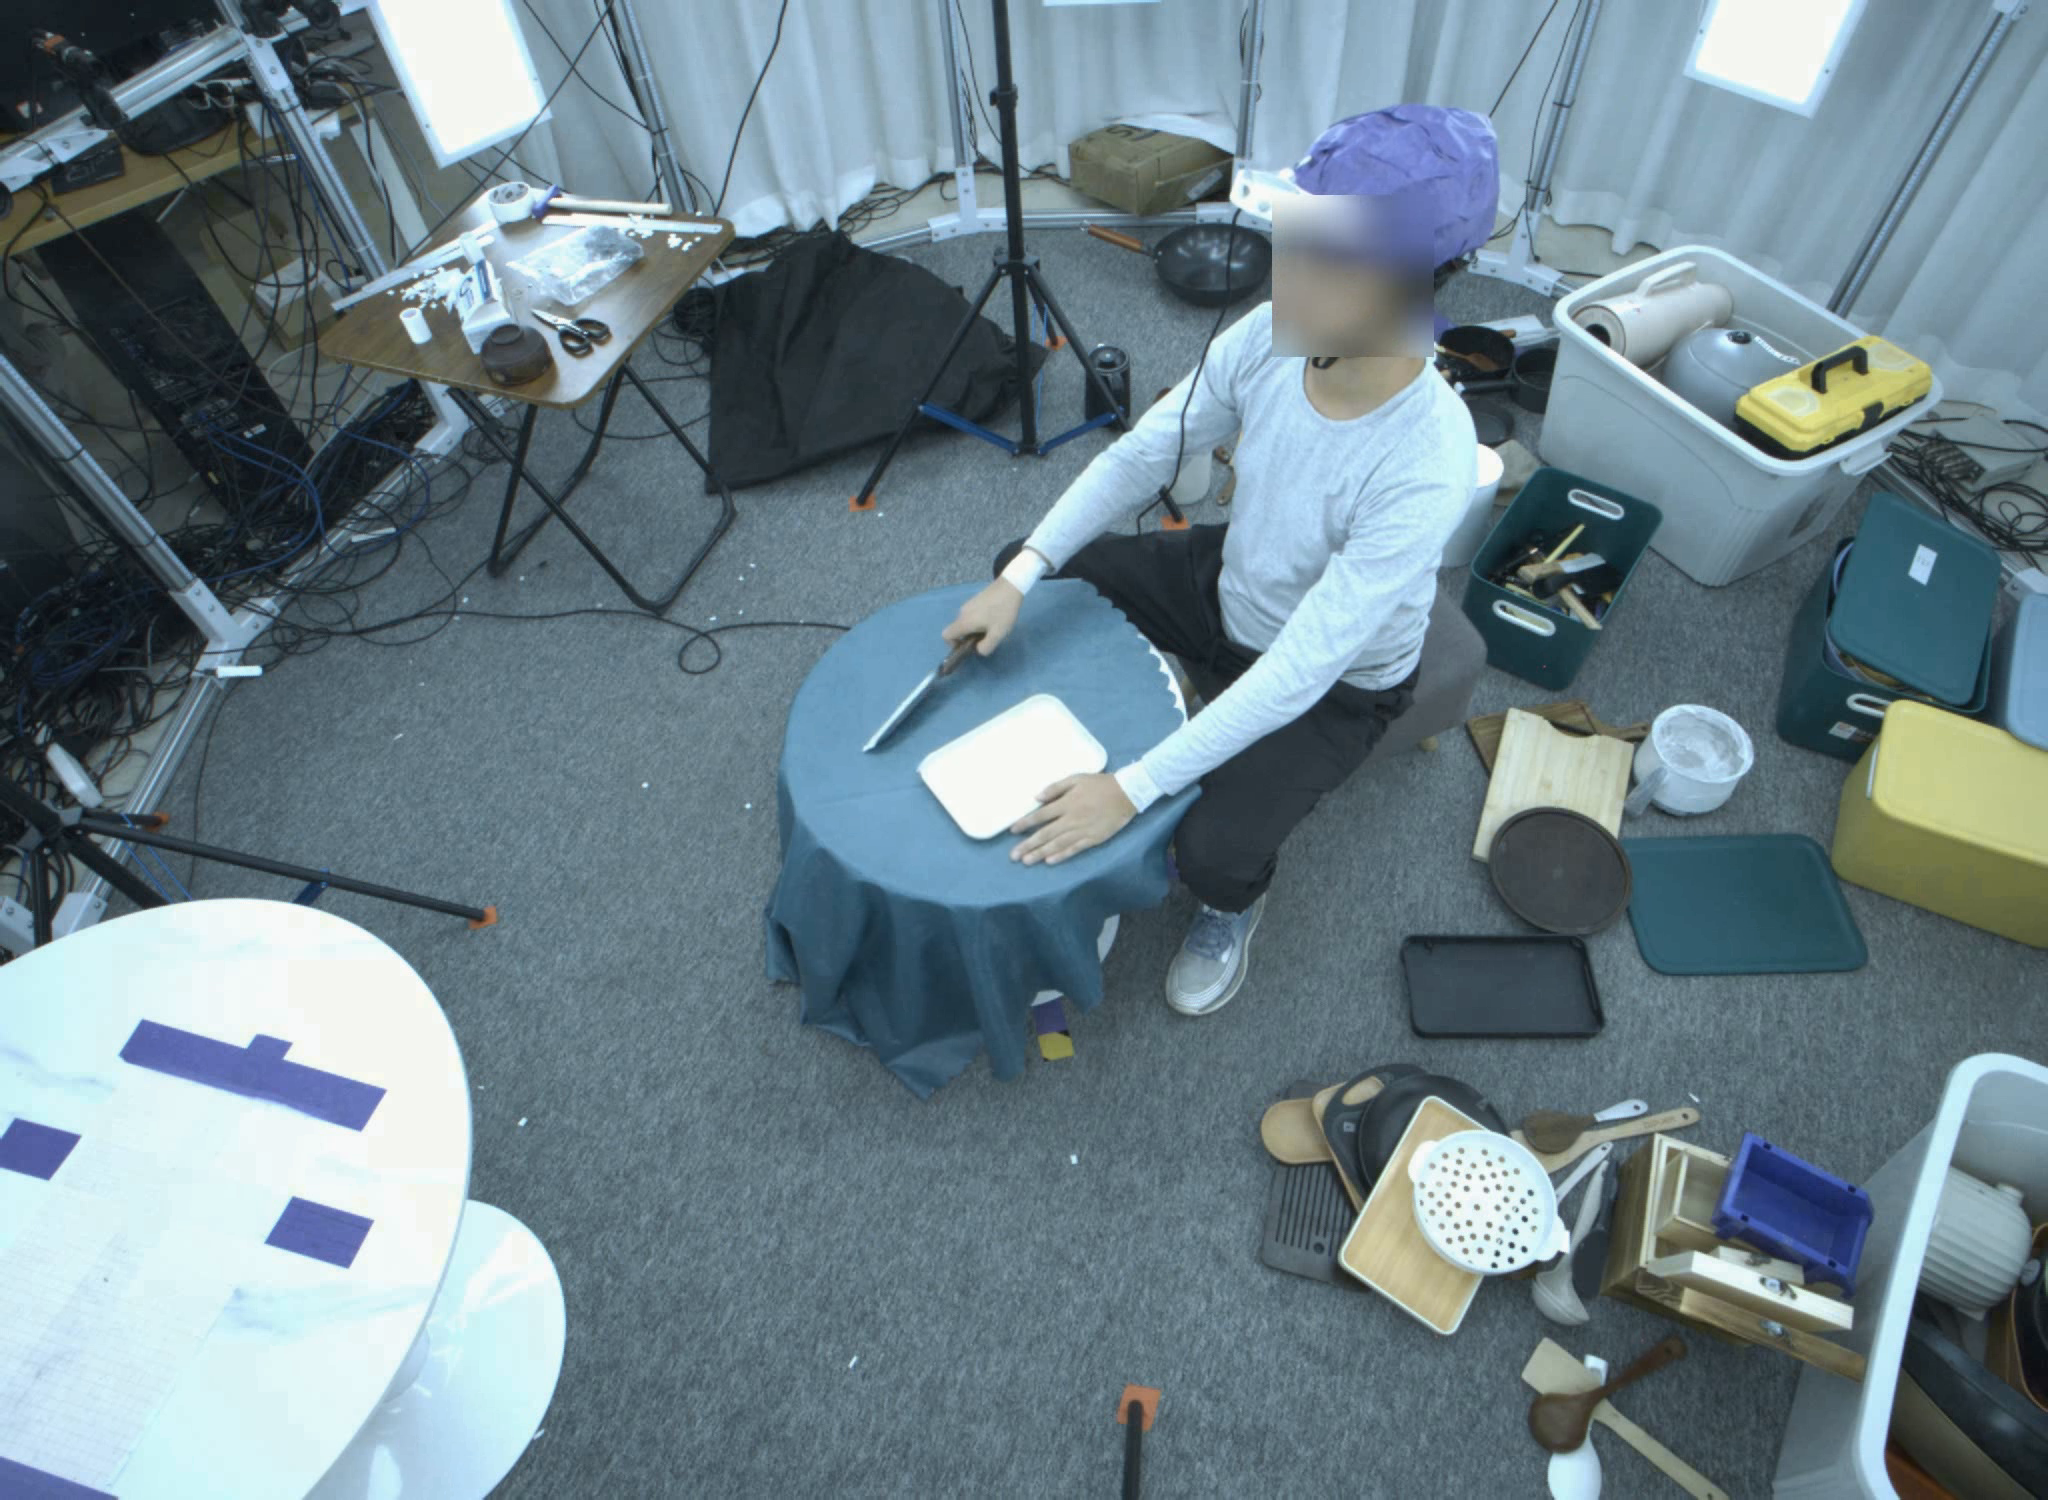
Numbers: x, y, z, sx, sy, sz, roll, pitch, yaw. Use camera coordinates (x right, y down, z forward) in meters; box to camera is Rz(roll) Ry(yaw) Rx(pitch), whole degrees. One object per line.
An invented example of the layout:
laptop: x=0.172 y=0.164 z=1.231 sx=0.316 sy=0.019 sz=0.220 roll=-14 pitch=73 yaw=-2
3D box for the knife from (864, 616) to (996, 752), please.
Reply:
knife: x=-0.141 y=-0.099 z=1.839 sx=0.290 sy=0.020 sz=0.049 roll=-48 pitch=27 yaw=-19

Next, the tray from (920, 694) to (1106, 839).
tray: x=-0.015 y=0.023 z=1.769 sx=0.241 sy=0.017 sz=0.168 roll=-30 pitch=59 yaw=-19
